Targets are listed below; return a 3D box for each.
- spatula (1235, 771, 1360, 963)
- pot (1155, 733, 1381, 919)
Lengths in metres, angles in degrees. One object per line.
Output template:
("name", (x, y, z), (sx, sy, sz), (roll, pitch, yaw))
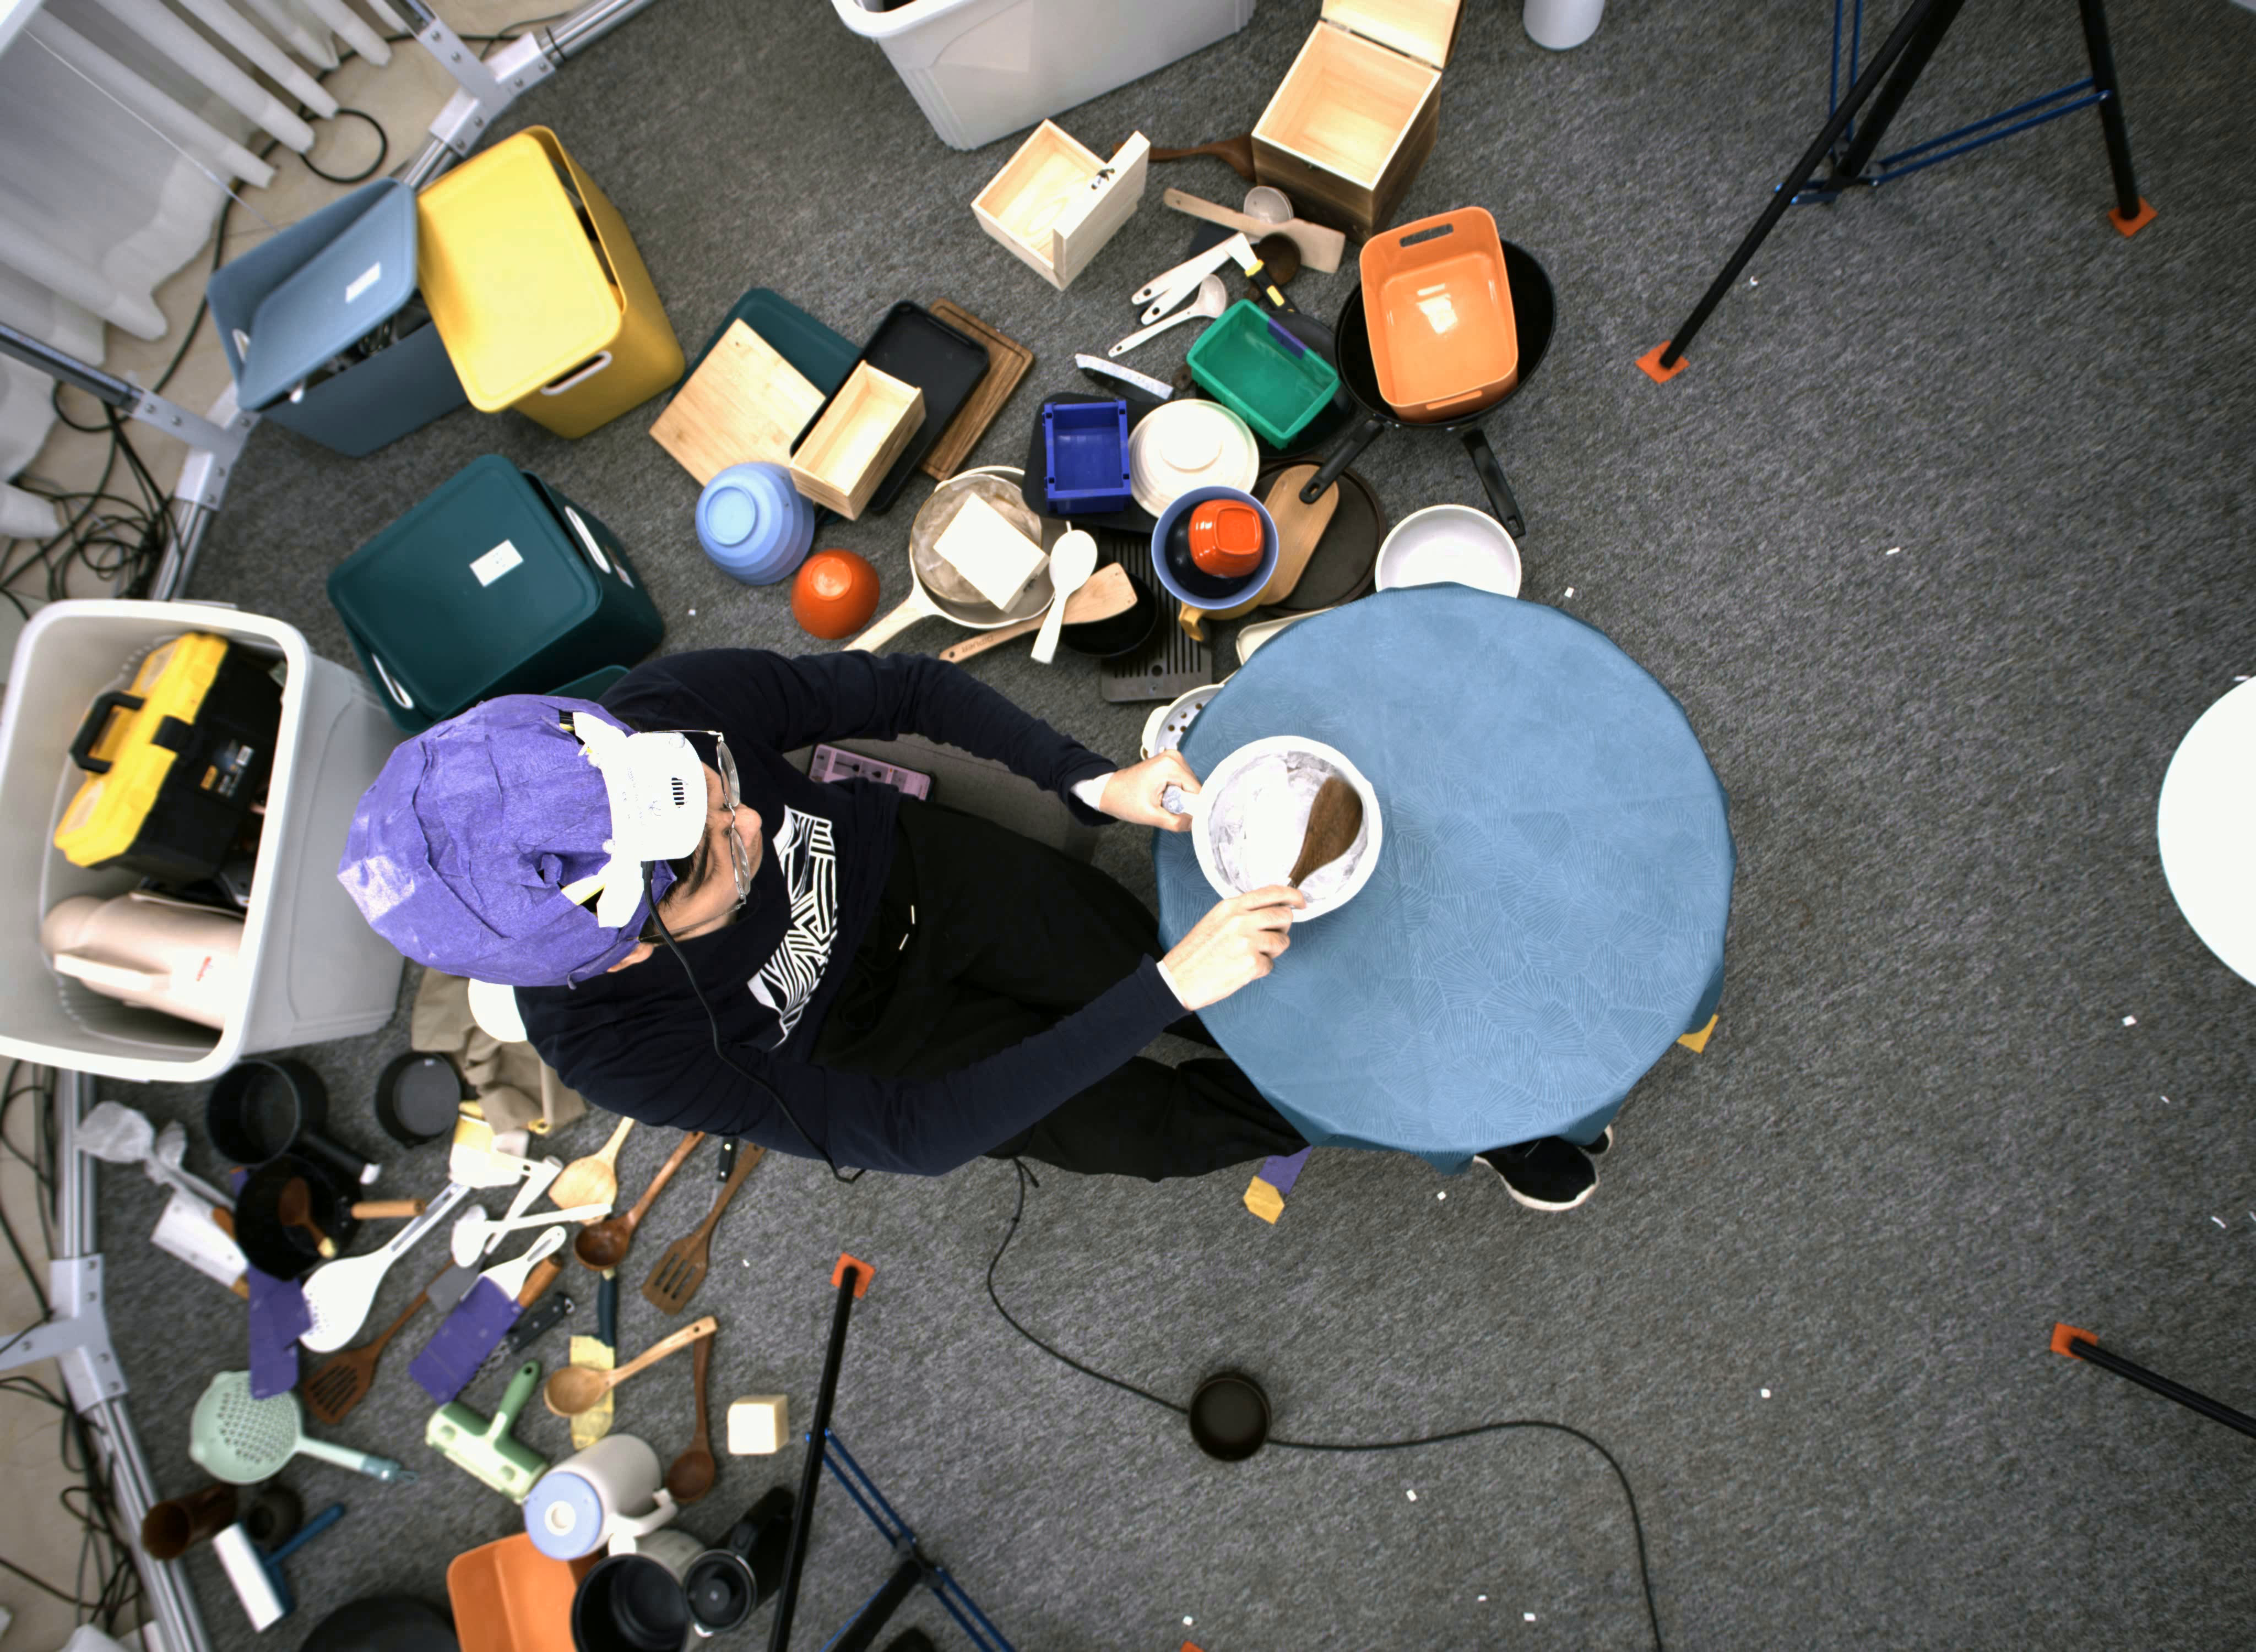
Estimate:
("spatula", (0.155, 0.037, 1.277), (0.009, 0.073, 0.212), (13, 60, 49))
("pot", (0.135, -0.003, 1.377), (0.234, 0.136, 0.179), (13, 91, 12))
